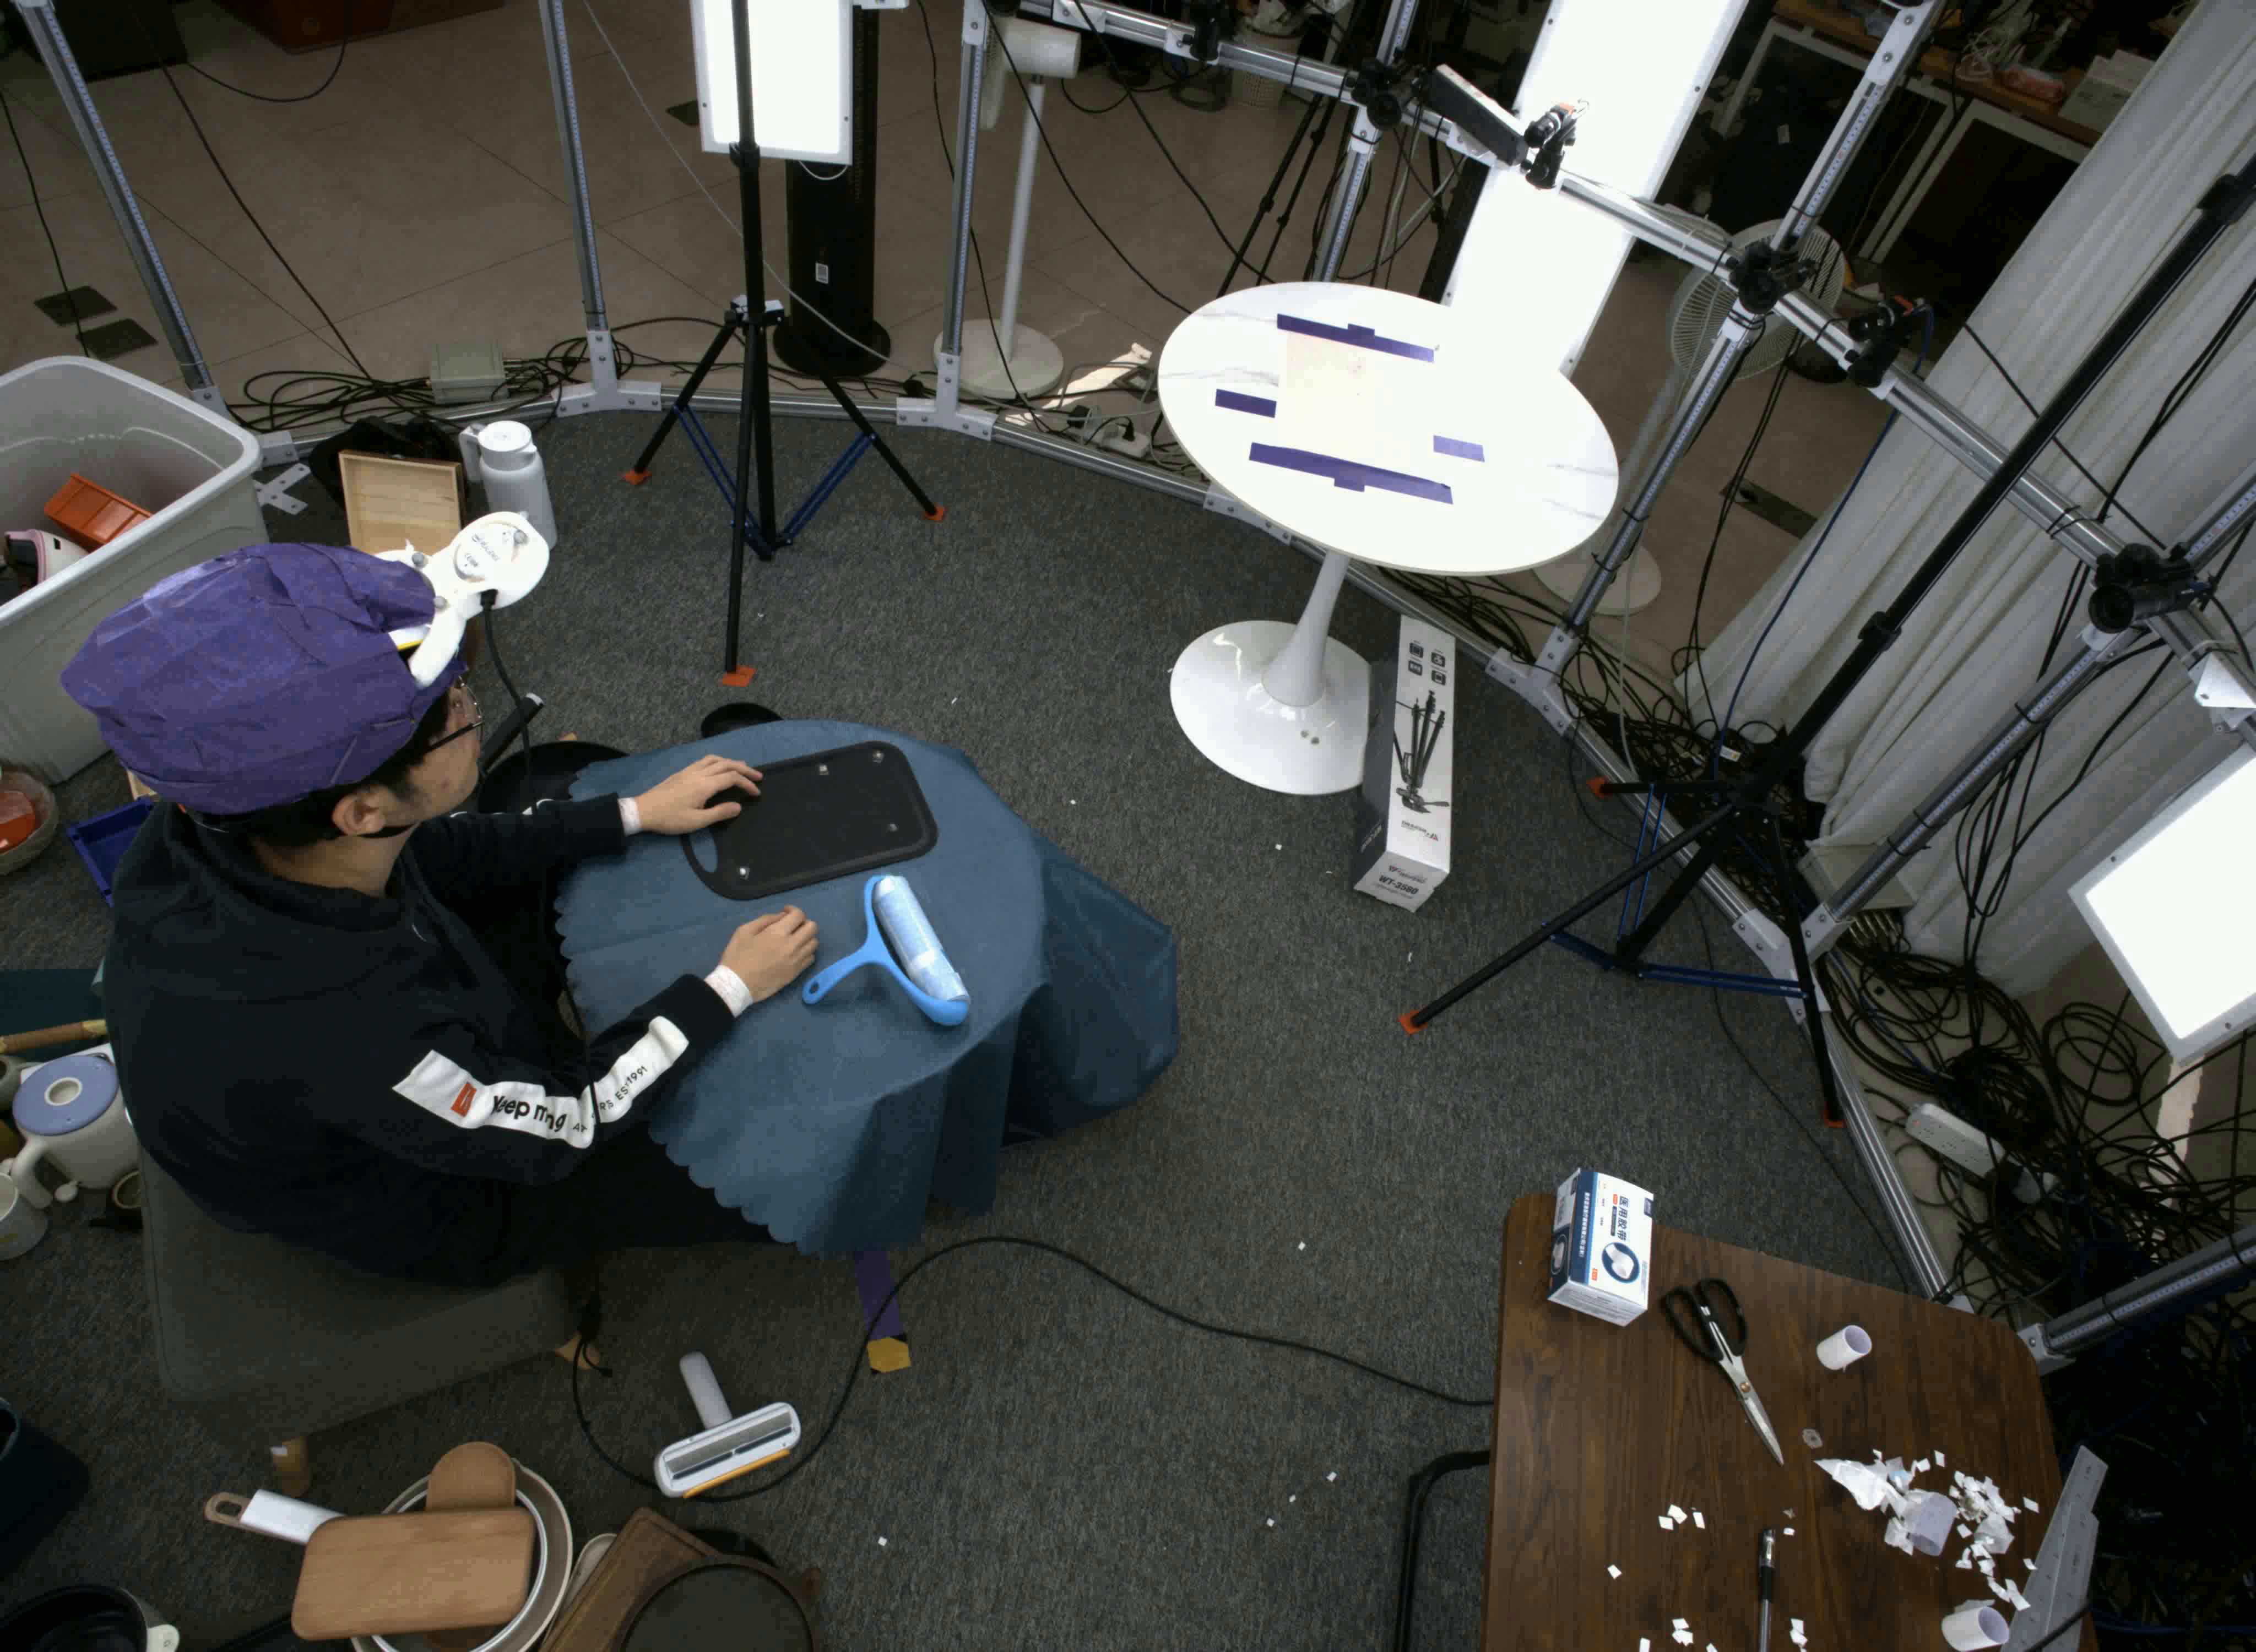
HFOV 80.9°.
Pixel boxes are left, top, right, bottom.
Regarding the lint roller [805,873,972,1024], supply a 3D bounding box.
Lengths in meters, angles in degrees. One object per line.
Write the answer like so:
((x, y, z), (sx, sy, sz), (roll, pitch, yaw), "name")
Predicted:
((-0.311, 0.167, 1.599), (0.181, 0.069, 0.224), (-22, 64, -29), "lint roller")

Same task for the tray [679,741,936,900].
((-0.431, -0.012, 1.732), (0.327, 0.010, 0.206), (-15, 59, -24), "tray")
